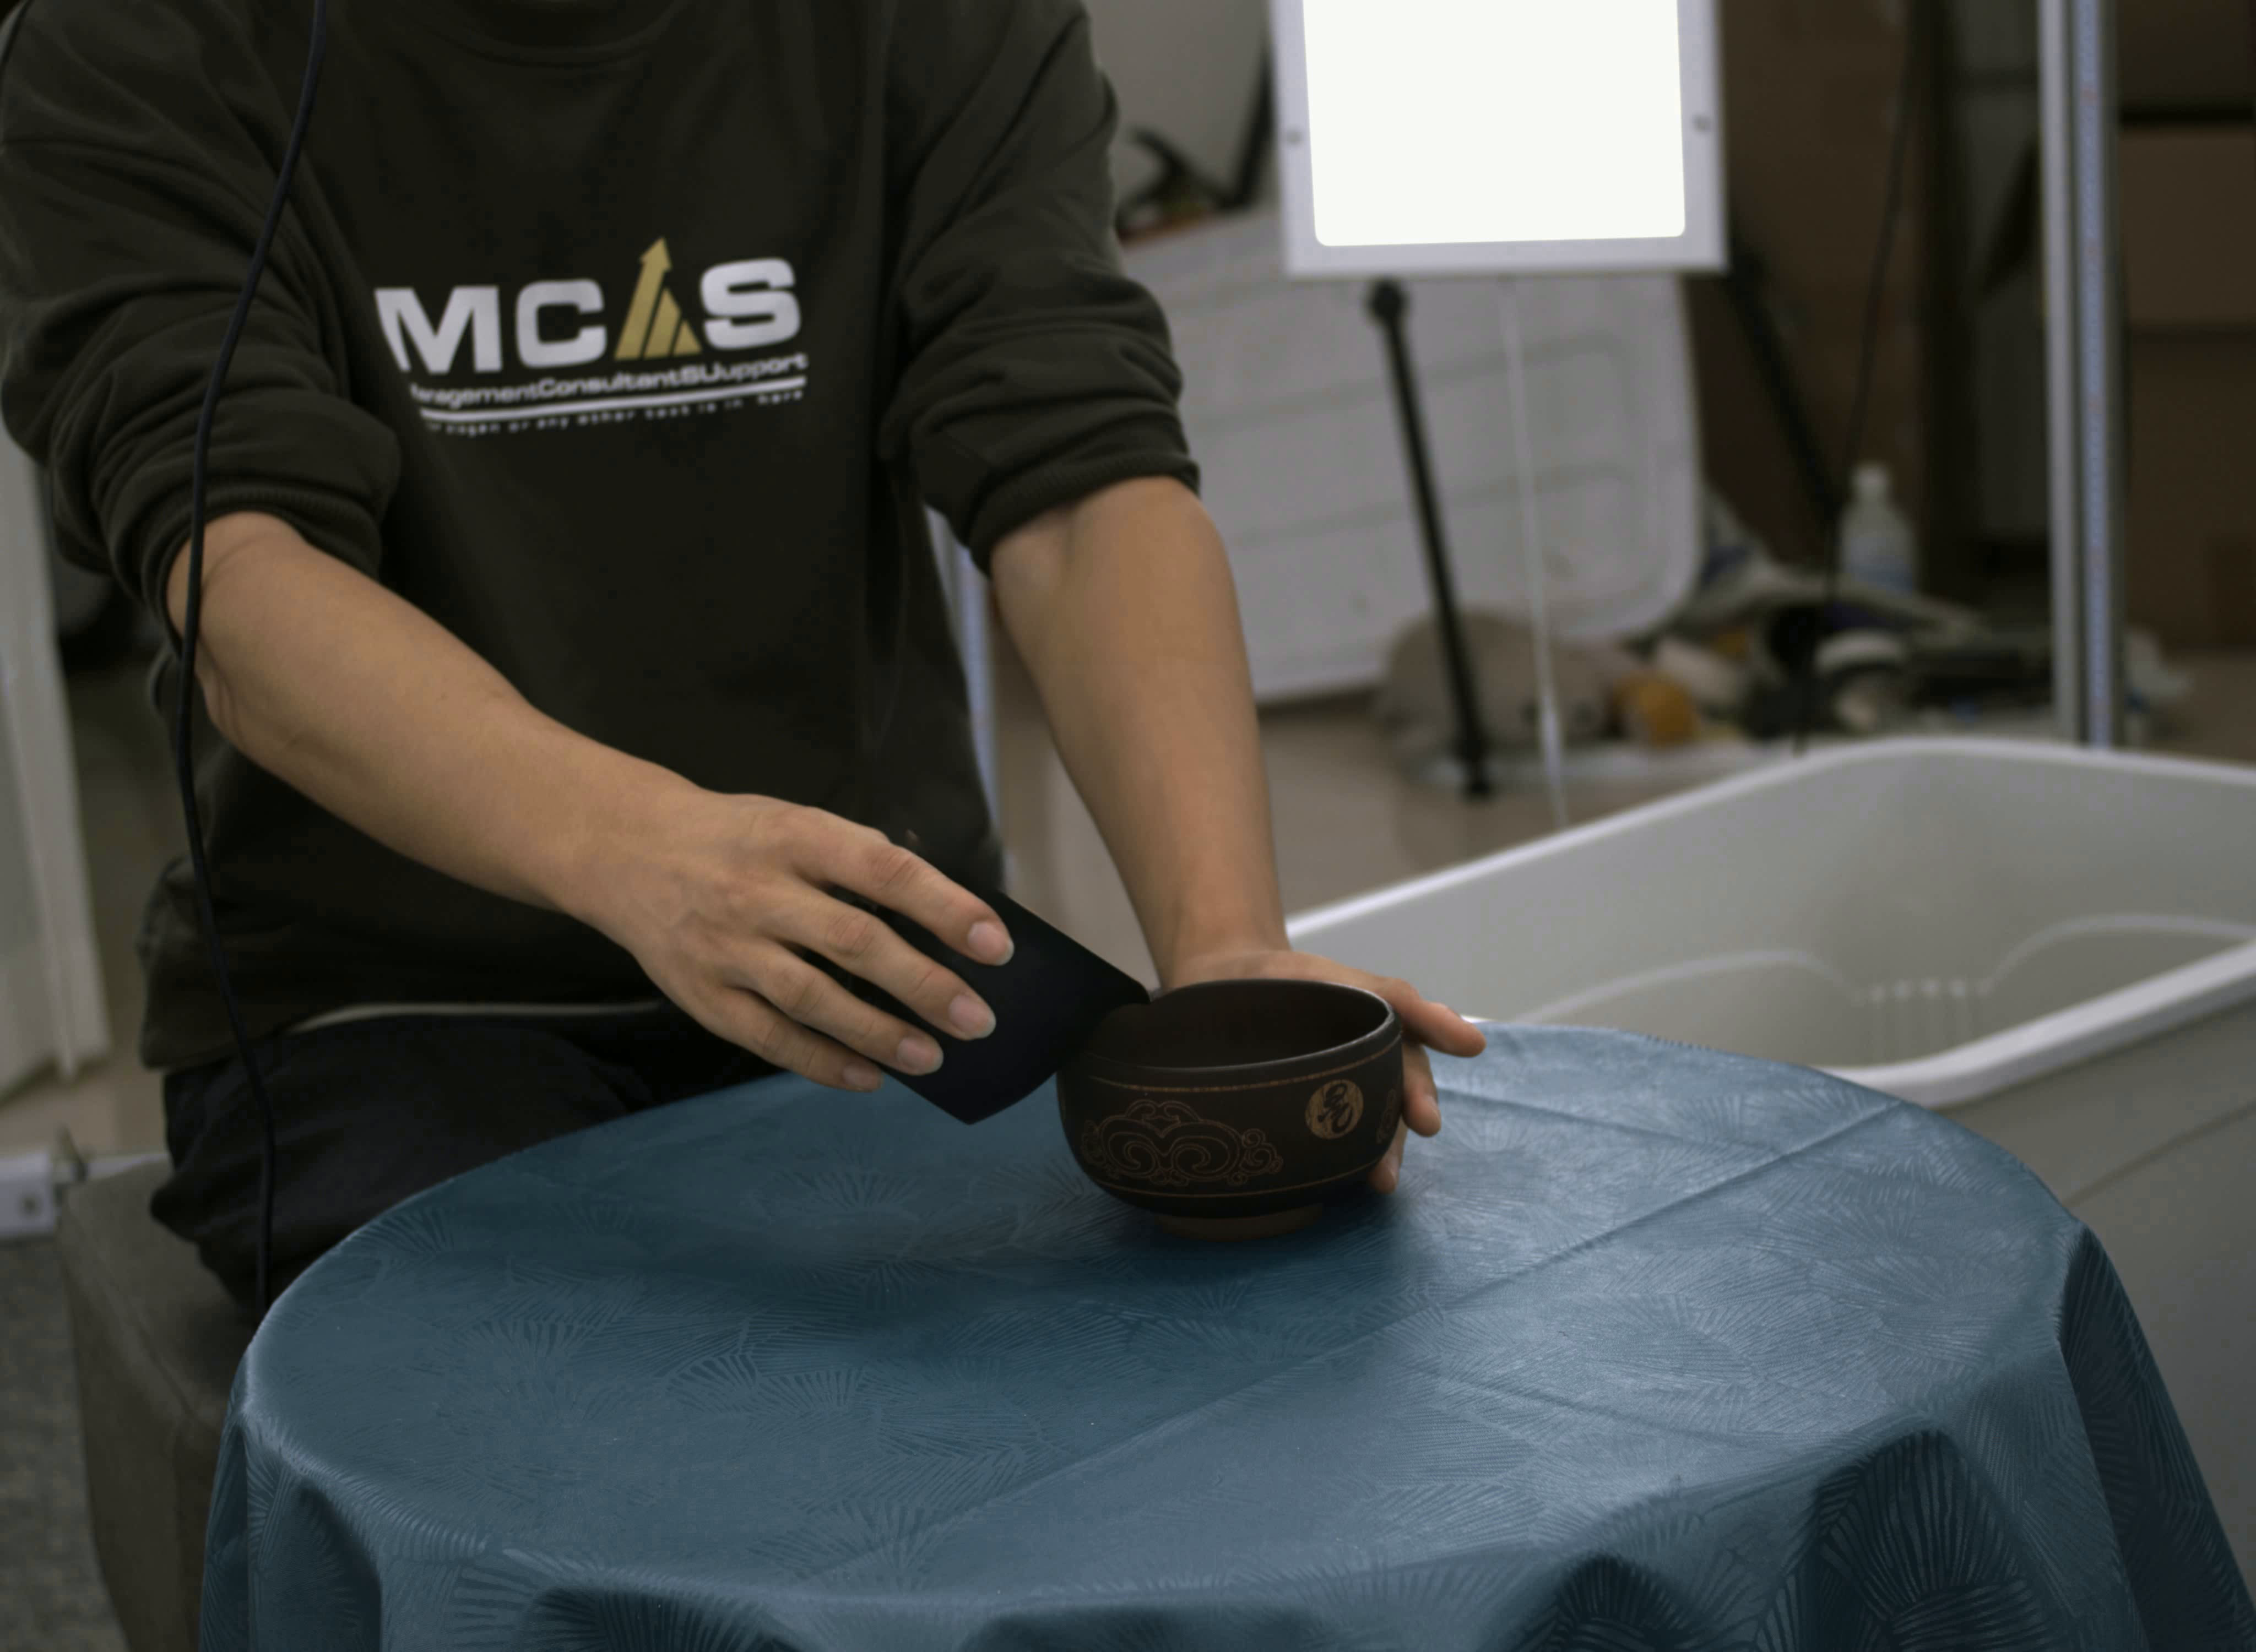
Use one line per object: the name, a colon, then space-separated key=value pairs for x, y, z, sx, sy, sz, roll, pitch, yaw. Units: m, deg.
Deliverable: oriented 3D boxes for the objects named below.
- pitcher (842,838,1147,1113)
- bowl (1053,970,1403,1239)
pitcher: x=-0.050 y=0.054 z=1.823 sx=0.095 sy=0.071 sz=0.084 roll=34 pitch=-3 yaw=-10
bowl: x=0.035 y=0.097 z=1.856 sx=0.118 sy=0.070 sz=0.118 roll=-5 pitch=16 yaw=0
